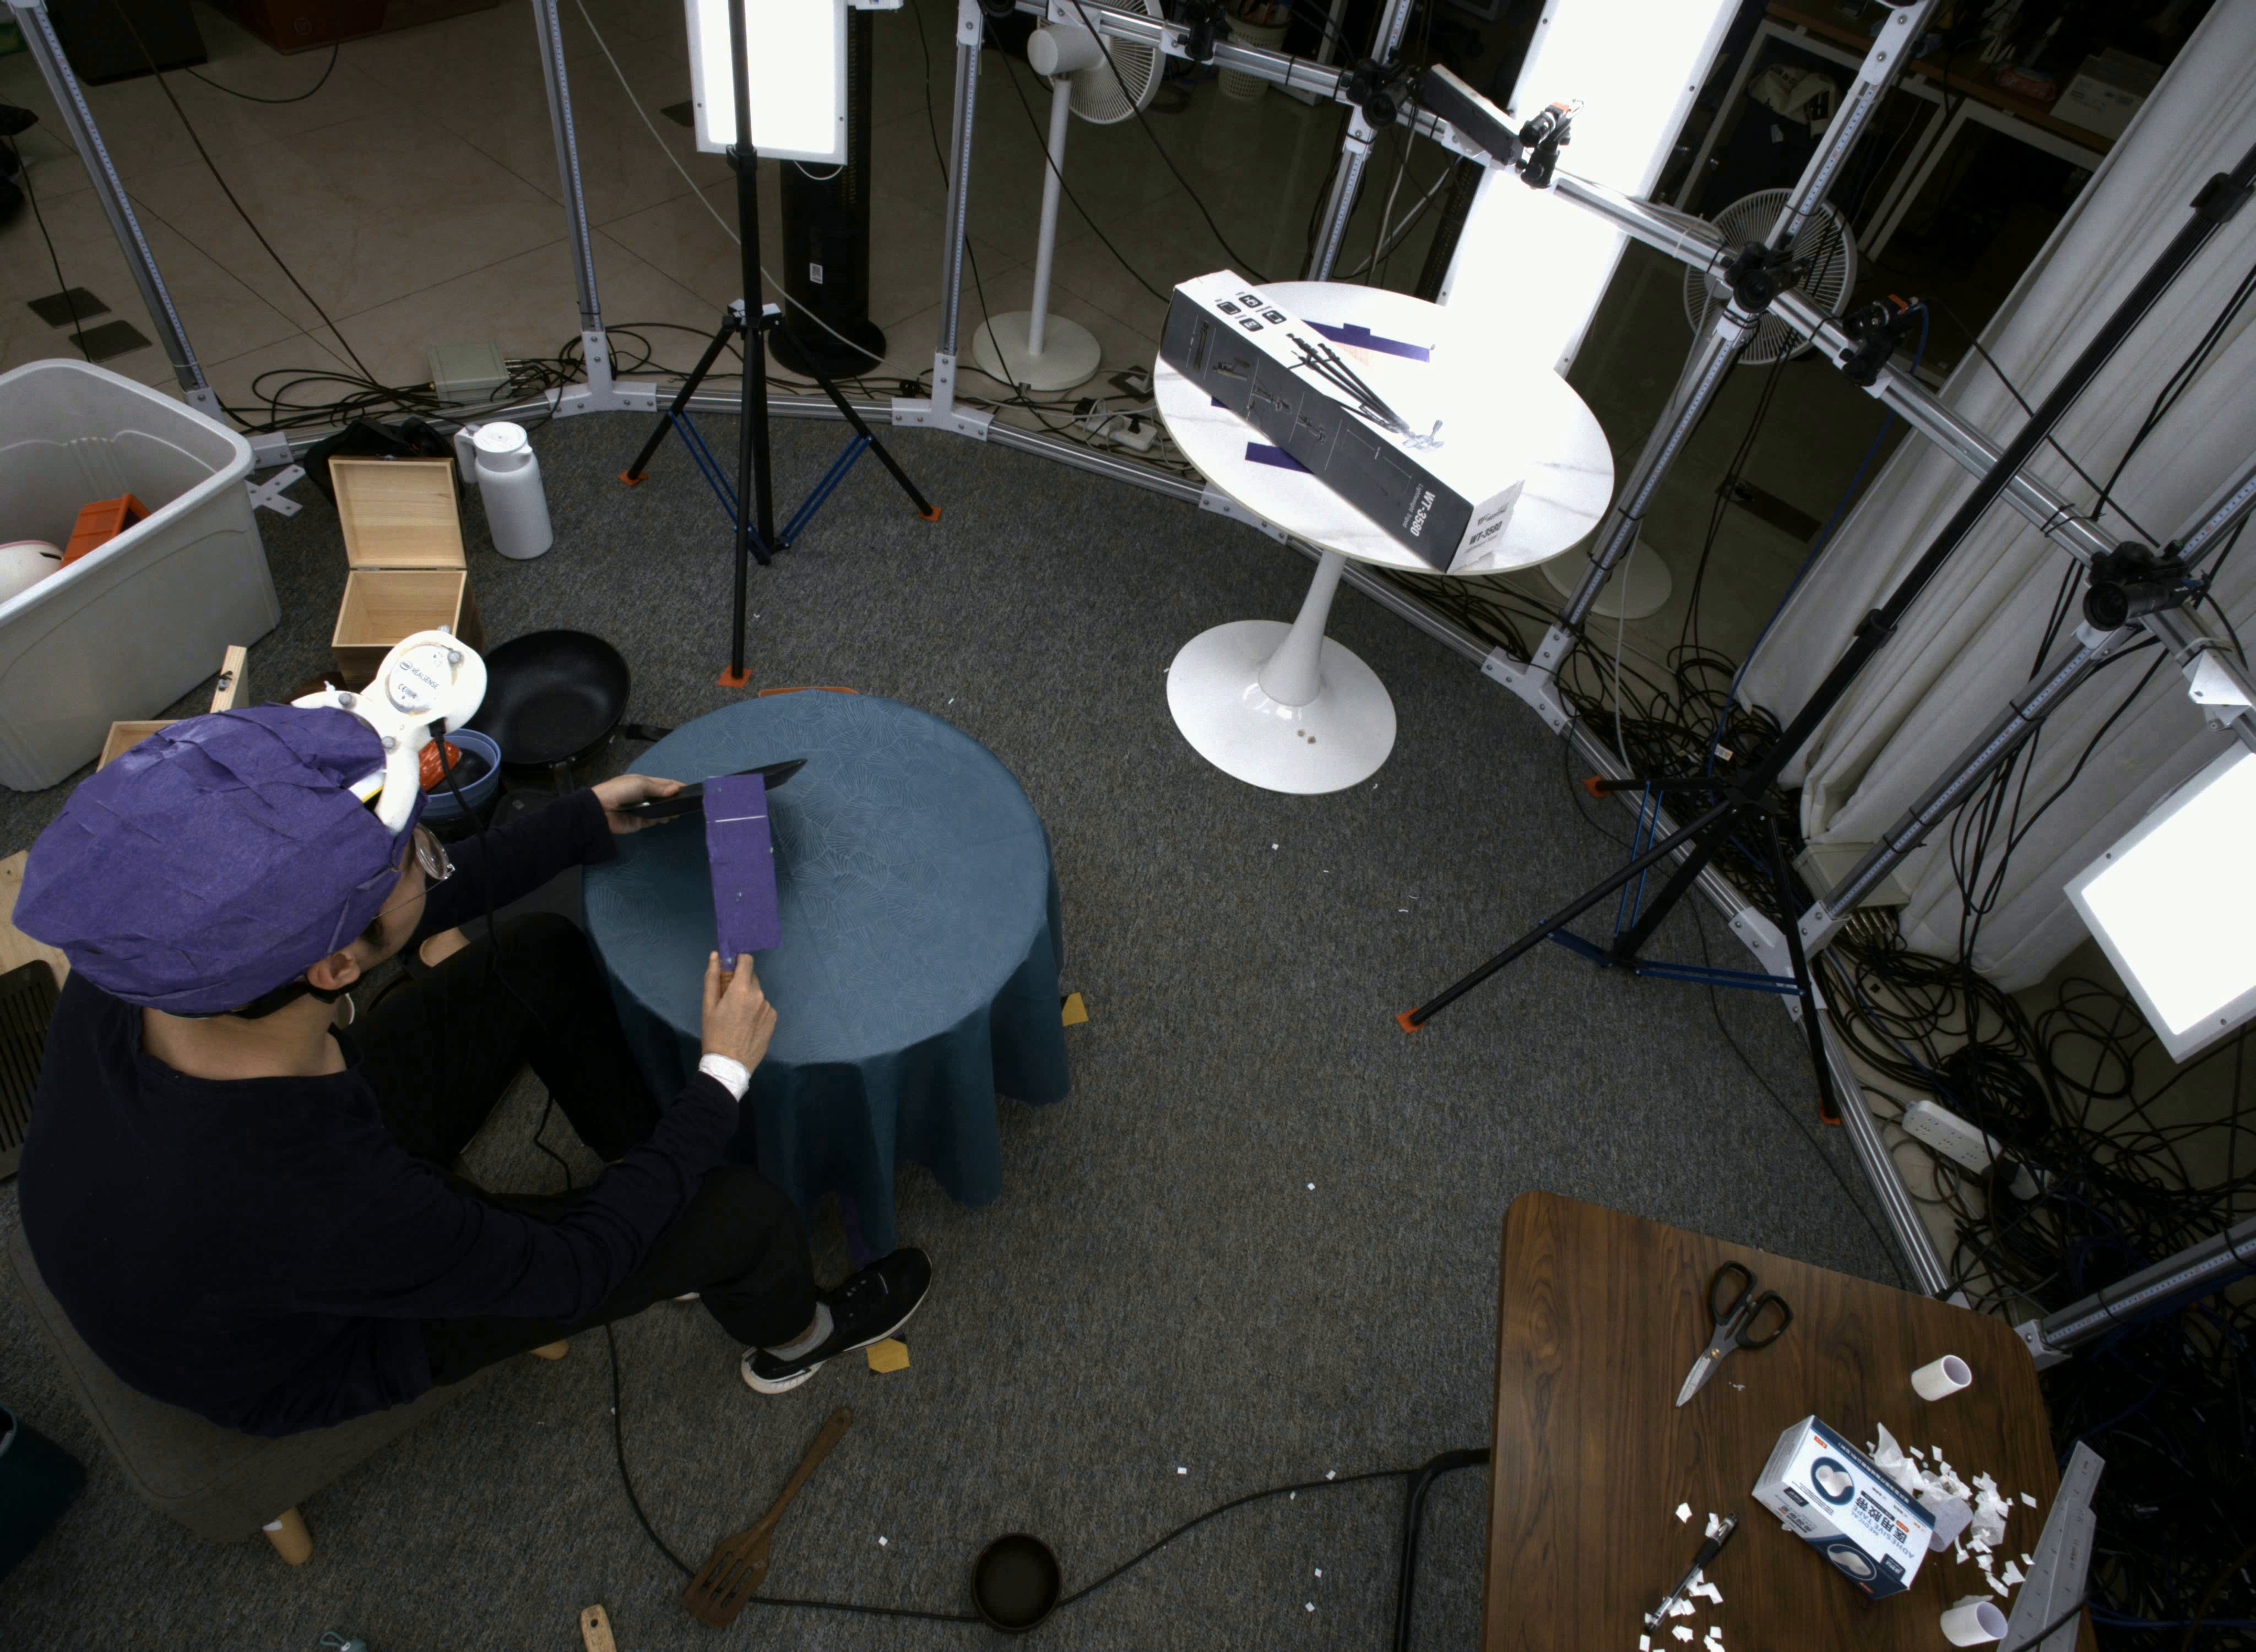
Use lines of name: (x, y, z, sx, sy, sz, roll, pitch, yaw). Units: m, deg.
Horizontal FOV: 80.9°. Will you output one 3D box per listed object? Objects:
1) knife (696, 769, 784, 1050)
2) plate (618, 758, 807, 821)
knife: (-0.439, 0.091, 1.499, 0.105, 0.031, 0.320, -9, 95, -54)
plate: (-0.519, -0.044, 1.617, 0.245, 0.238, 0.024, -18, 99, -25)
